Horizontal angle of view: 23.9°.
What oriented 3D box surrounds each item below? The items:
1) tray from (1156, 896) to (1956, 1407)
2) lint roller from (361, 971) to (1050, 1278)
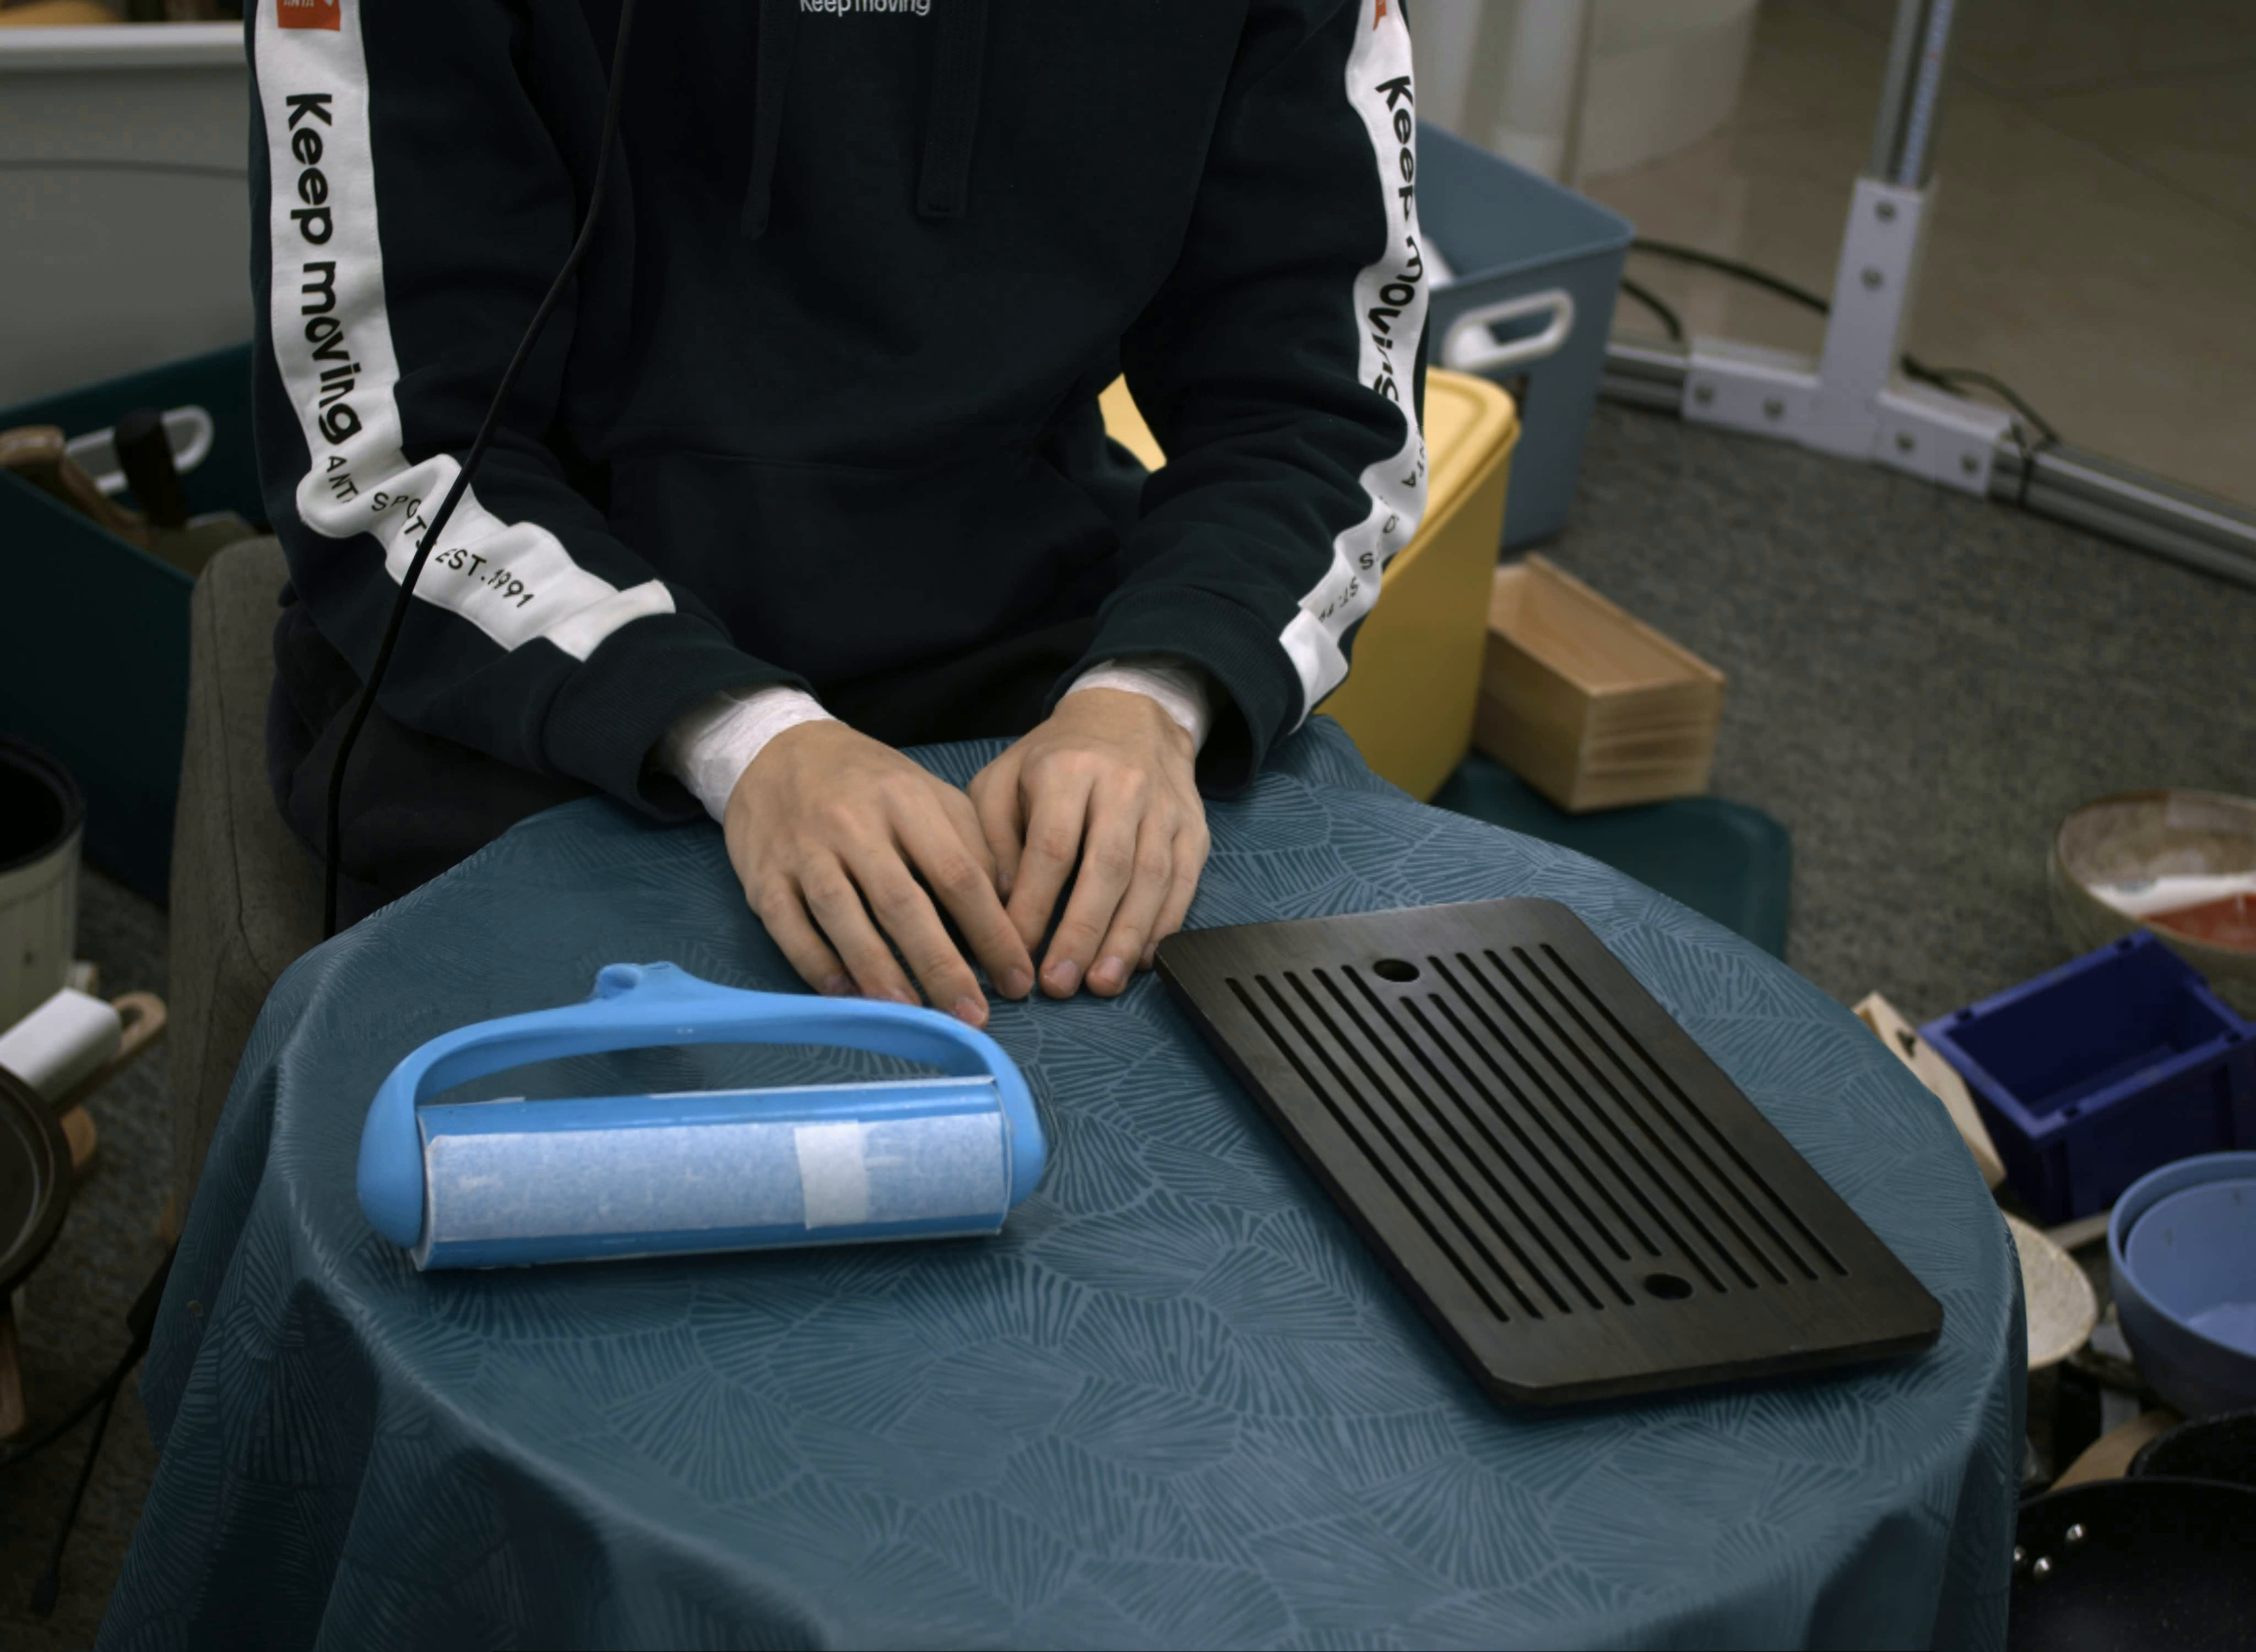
[{"bbox_3d":[0.141,0.109,1.839,0.169,0.018,0.309,-6,29,-22],"label":"tray"},{"bbox_3d":[-0.155,0.083,1.779,0.227,0.067,0.182,-5,30,-18],"label":"lint roller"}]
